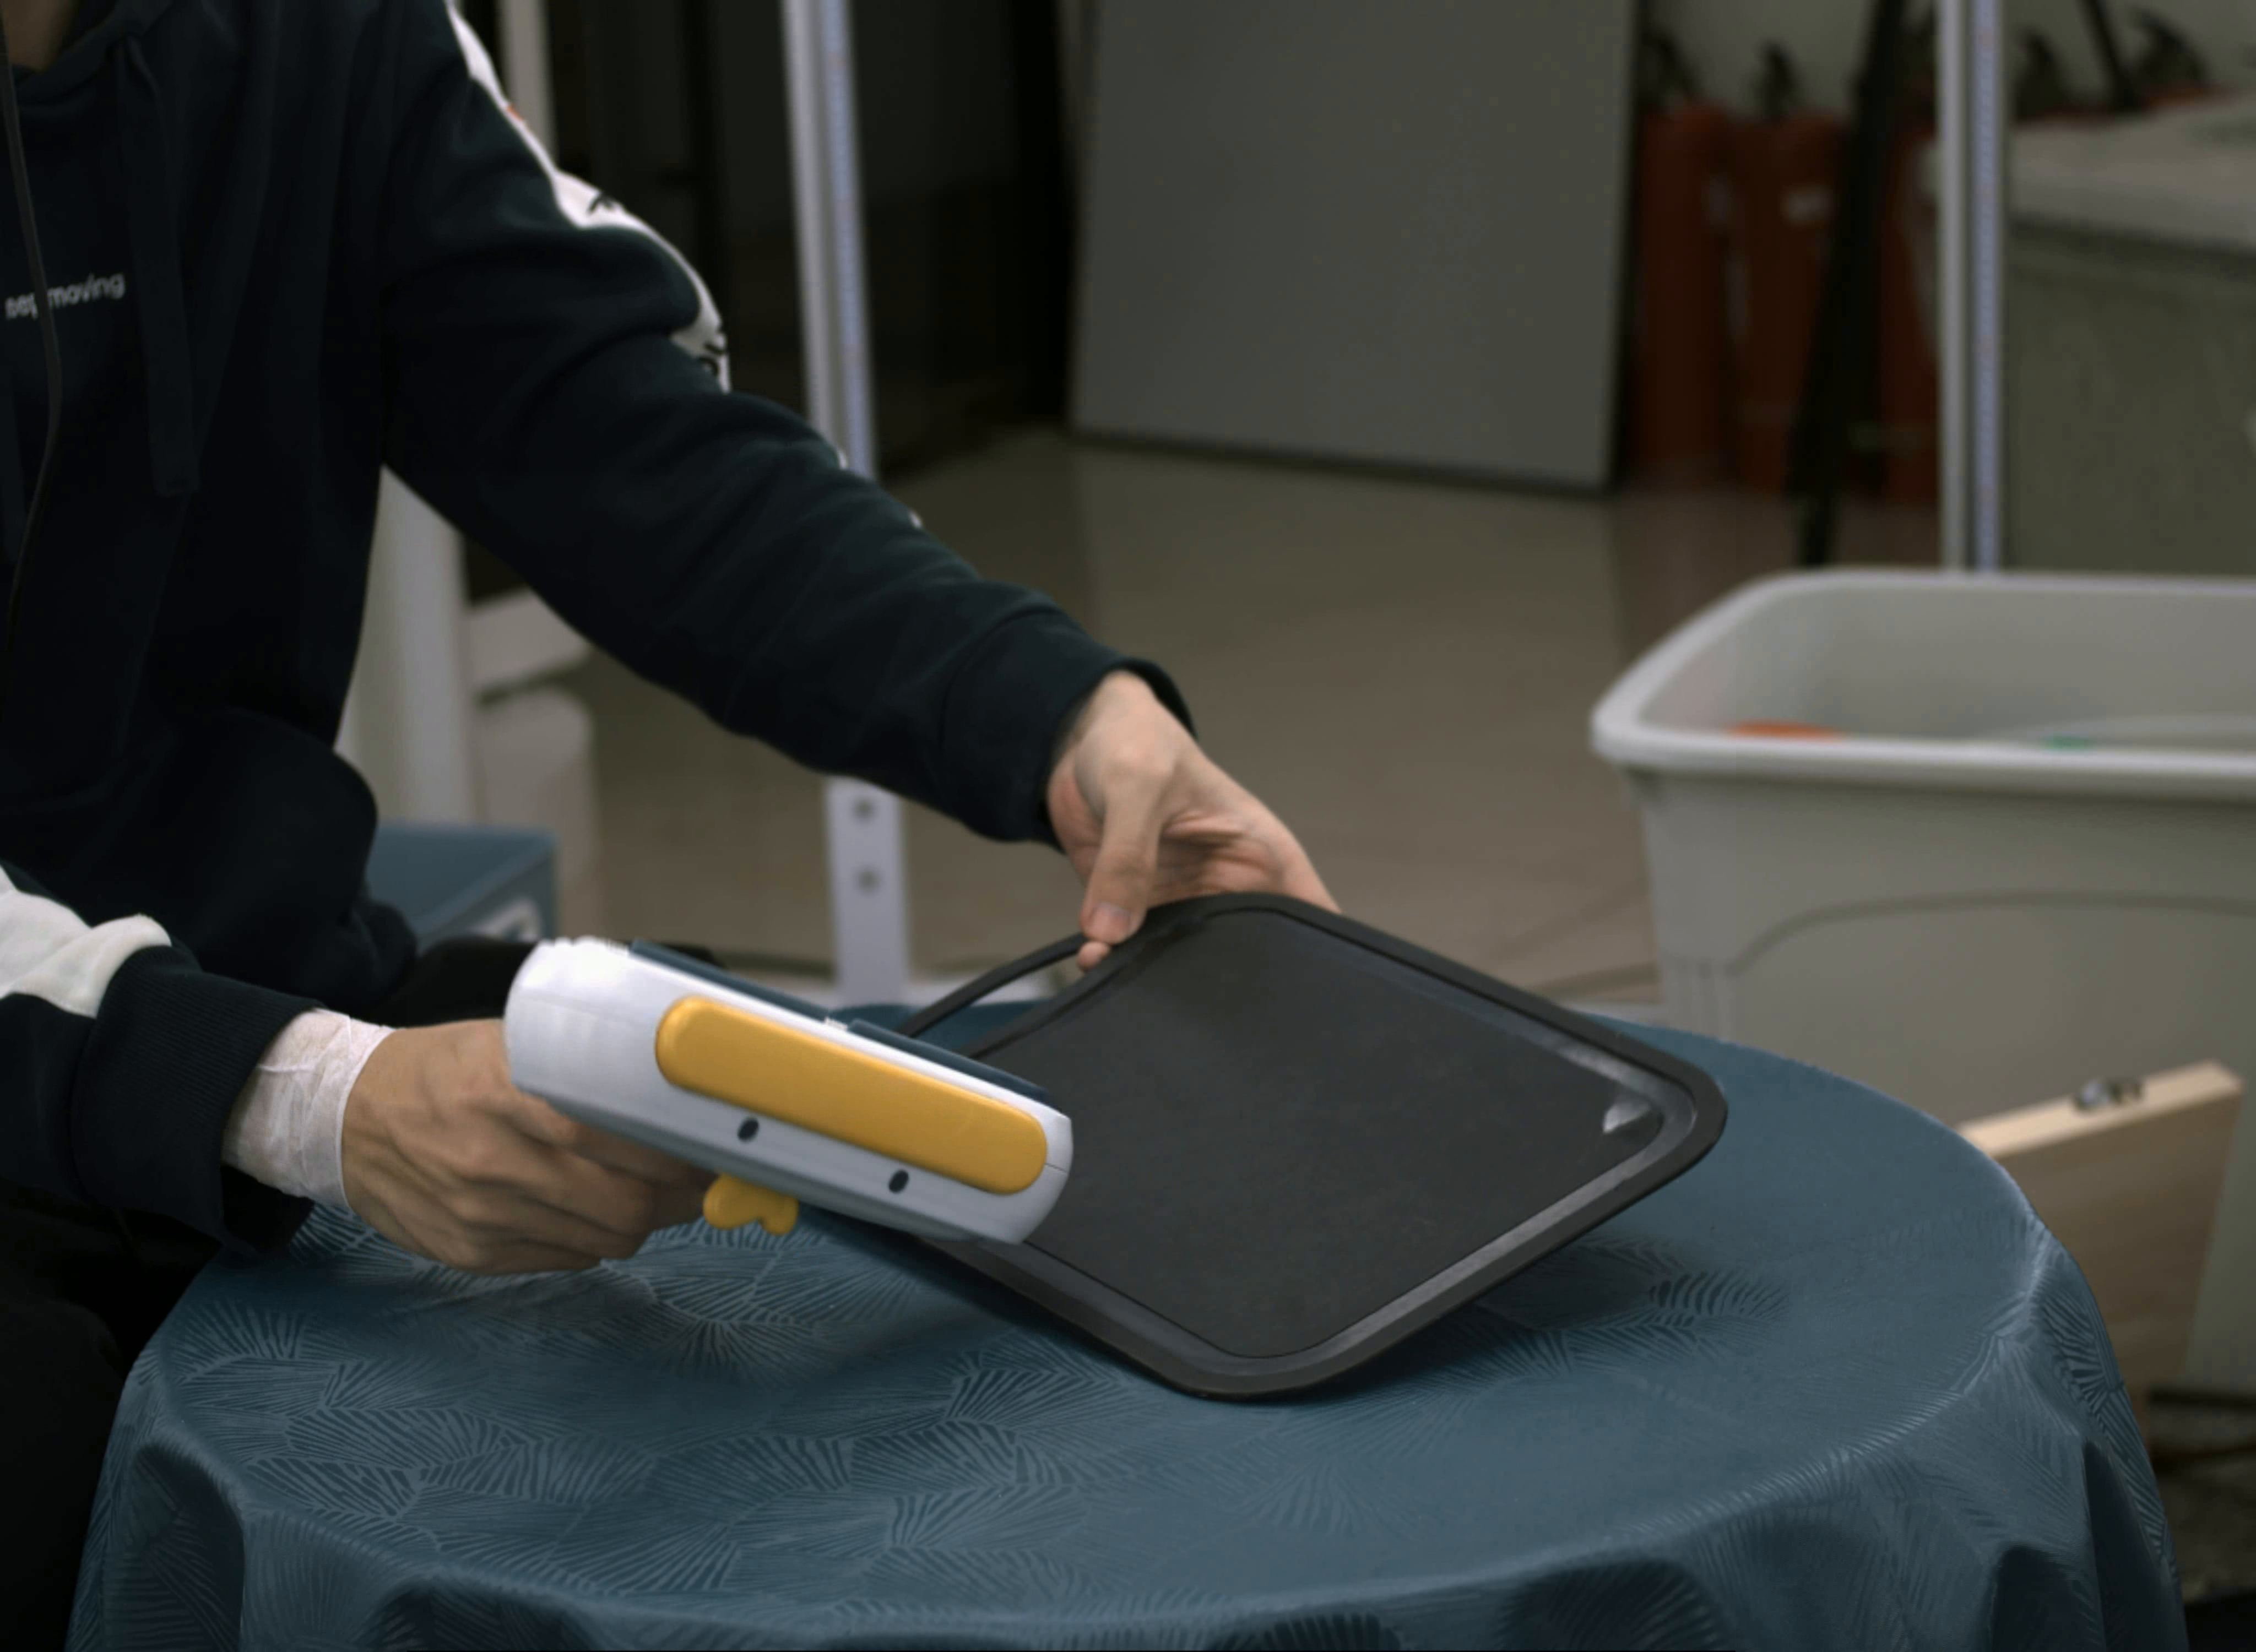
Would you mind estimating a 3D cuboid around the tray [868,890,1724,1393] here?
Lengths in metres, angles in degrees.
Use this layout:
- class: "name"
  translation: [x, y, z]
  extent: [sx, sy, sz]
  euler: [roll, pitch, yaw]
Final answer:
- class: "tray"
  translation: [0.029, 0.092, 1.725]
  extent: [0.208, 0.010, 0.329]
  euler: [-30, 27, -24]

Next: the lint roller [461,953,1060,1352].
- class: "lint roller"
  translation: [-0.140, 0.110, 1.650]
  extent: [0.188, 0.075, 0.194]
  euler: [16, -26, -31]
